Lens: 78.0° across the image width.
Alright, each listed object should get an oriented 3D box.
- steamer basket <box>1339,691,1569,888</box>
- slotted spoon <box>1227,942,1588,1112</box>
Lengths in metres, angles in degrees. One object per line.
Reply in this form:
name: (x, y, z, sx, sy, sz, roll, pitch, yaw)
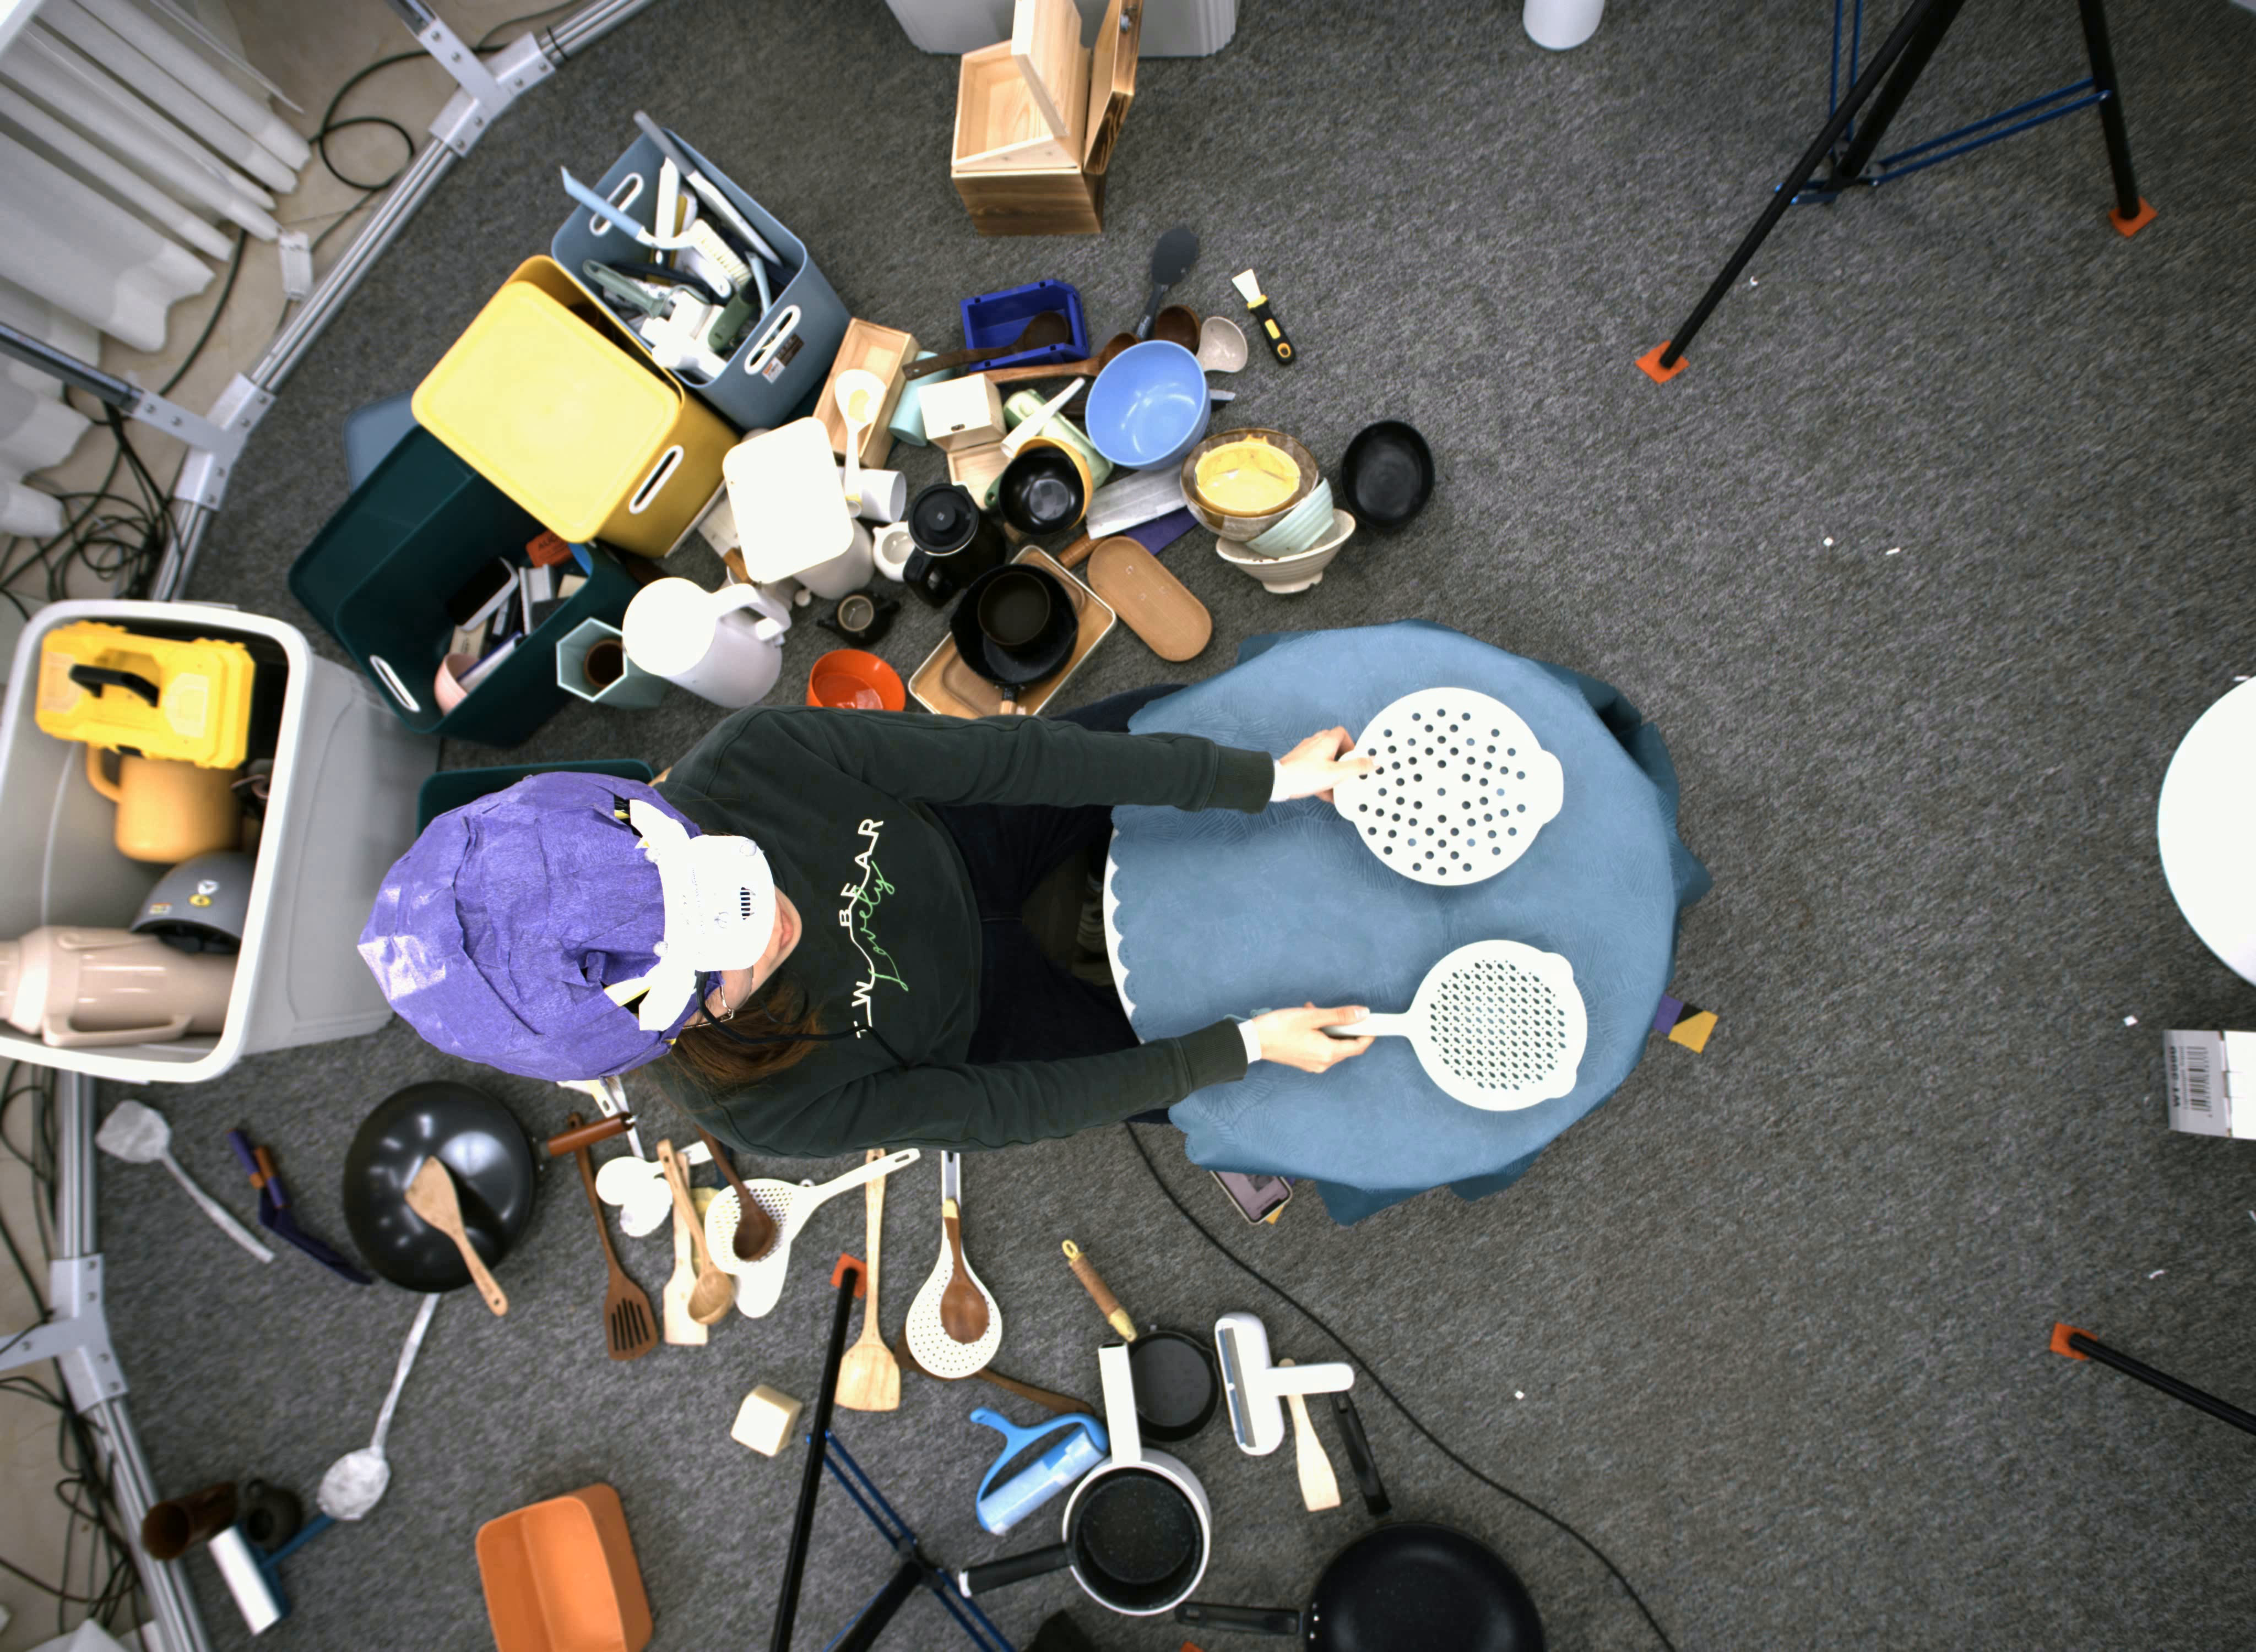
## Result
steamer basket: (0.334, -0.037, 1.425, 0.231, 0.069, 0.201, -1, 86, 7)
slotted spoon: (0.280, 0.203, 1.415, 0.360, 0.076, 0.168, 0, 81, 6)
